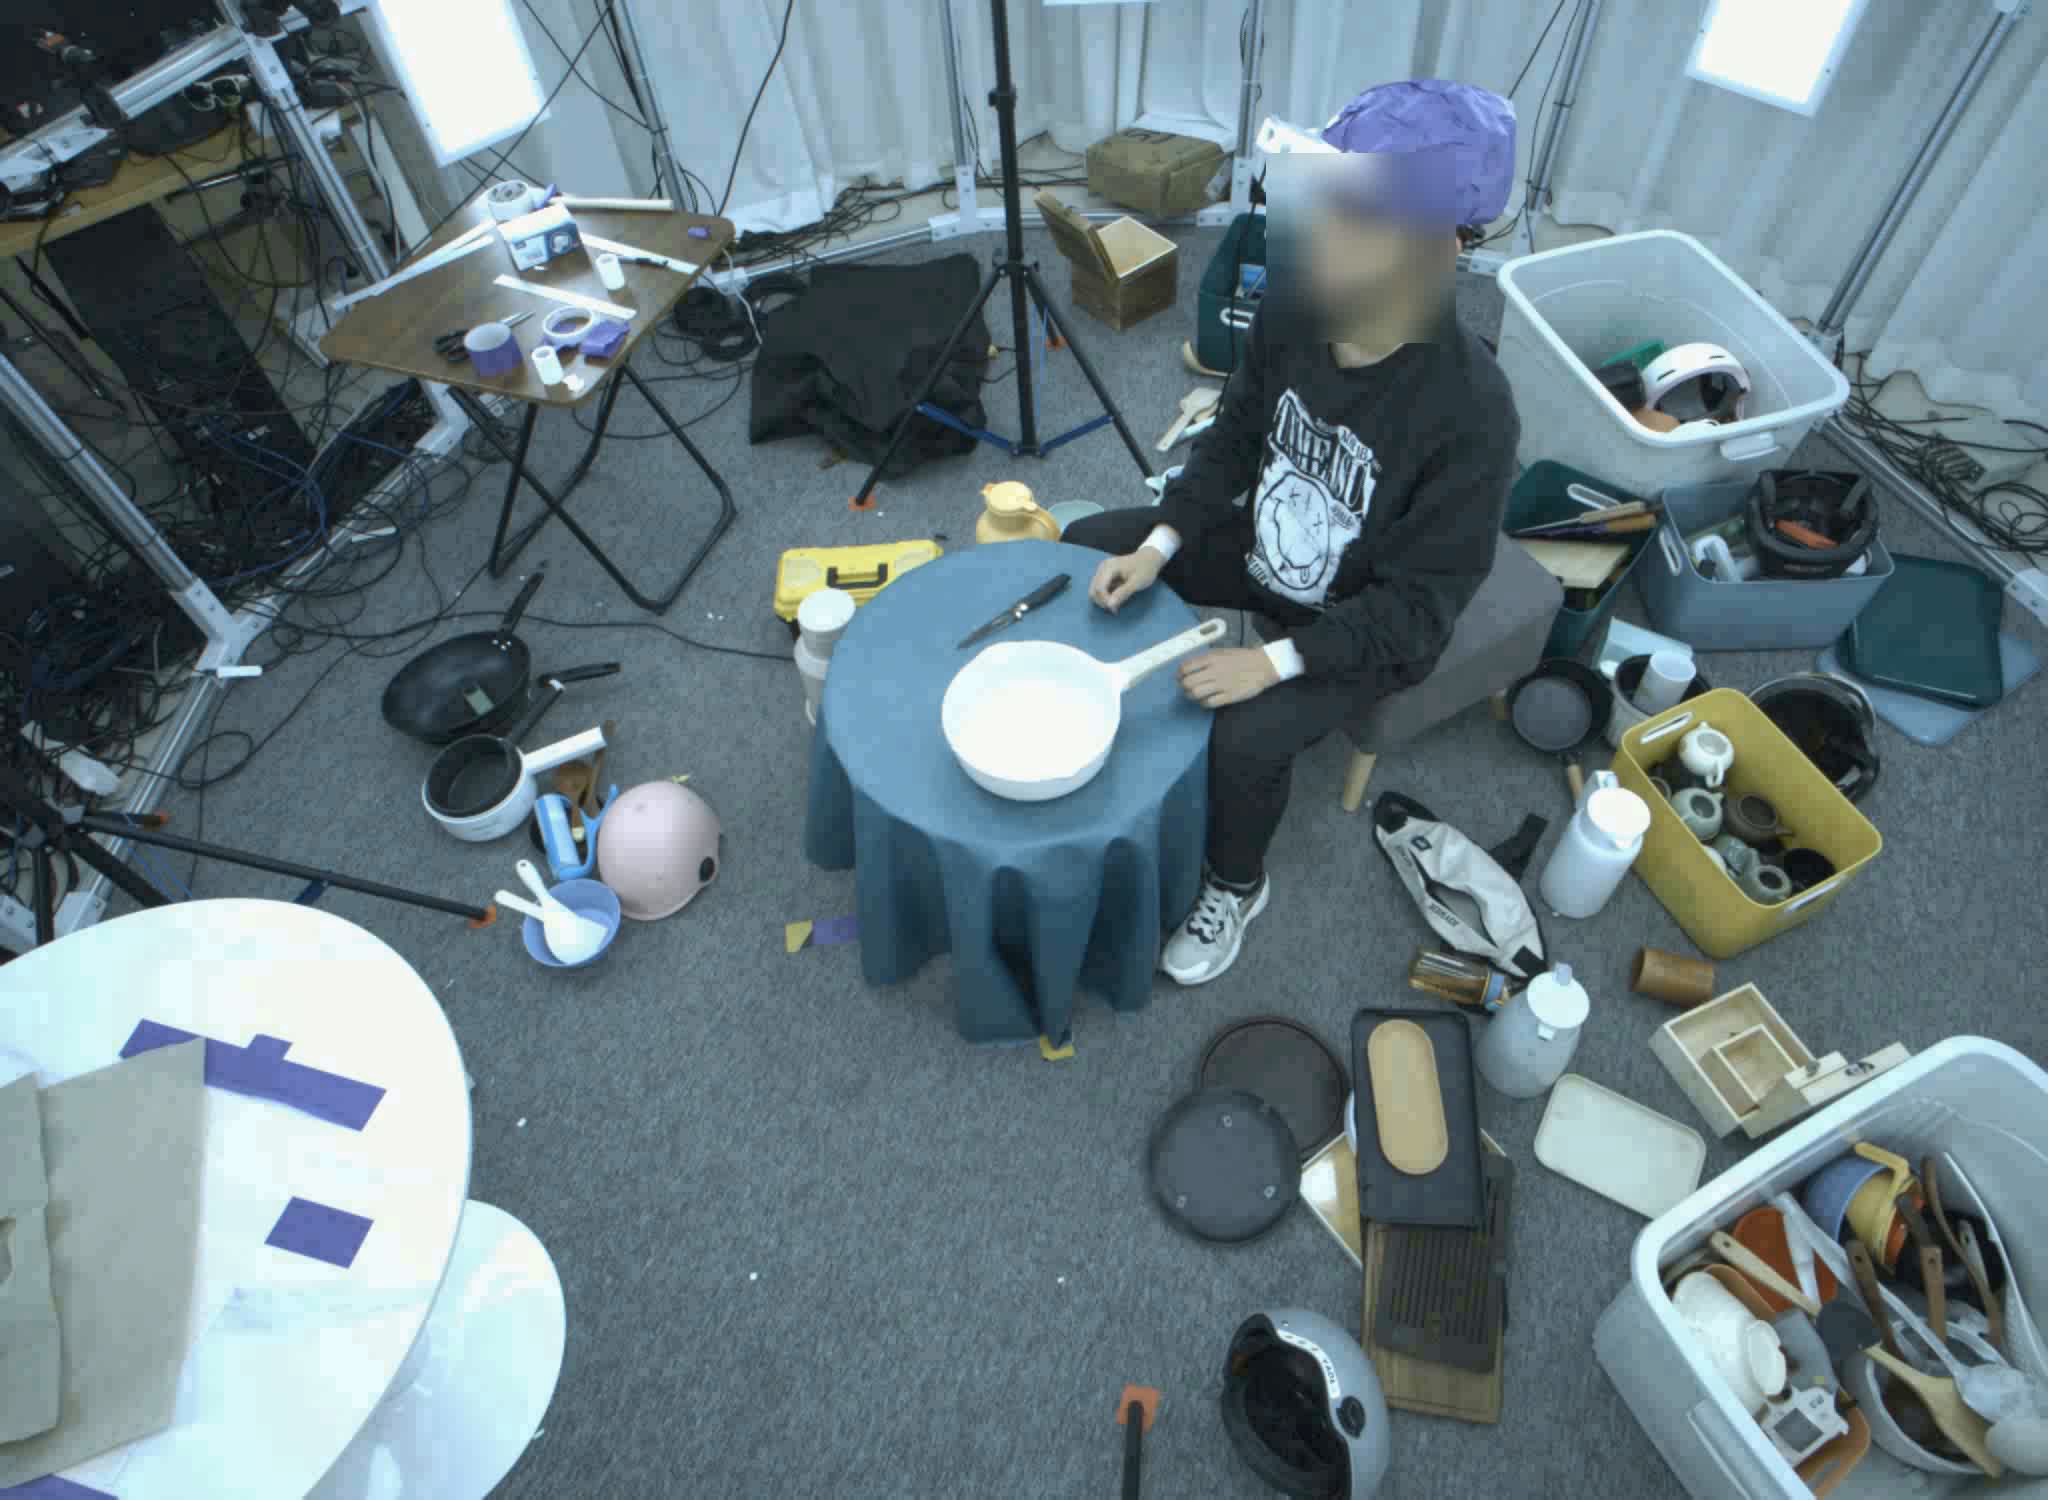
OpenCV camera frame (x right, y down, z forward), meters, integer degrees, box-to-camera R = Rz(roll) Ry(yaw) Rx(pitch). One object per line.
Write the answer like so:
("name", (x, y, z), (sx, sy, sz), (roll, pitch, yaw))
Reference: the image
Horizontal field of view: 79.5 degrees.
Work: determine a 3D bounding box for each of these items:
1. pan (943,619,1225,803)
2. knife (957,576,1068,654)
("pan", (0.097, -0.072, 1.770), (0.438, 0.103, 0.258), (-22, 55, -14))
("knife", (-0.019, -0.213, 1.931), (0.227, 0.017, 0.026), (-34, 76, -19))
